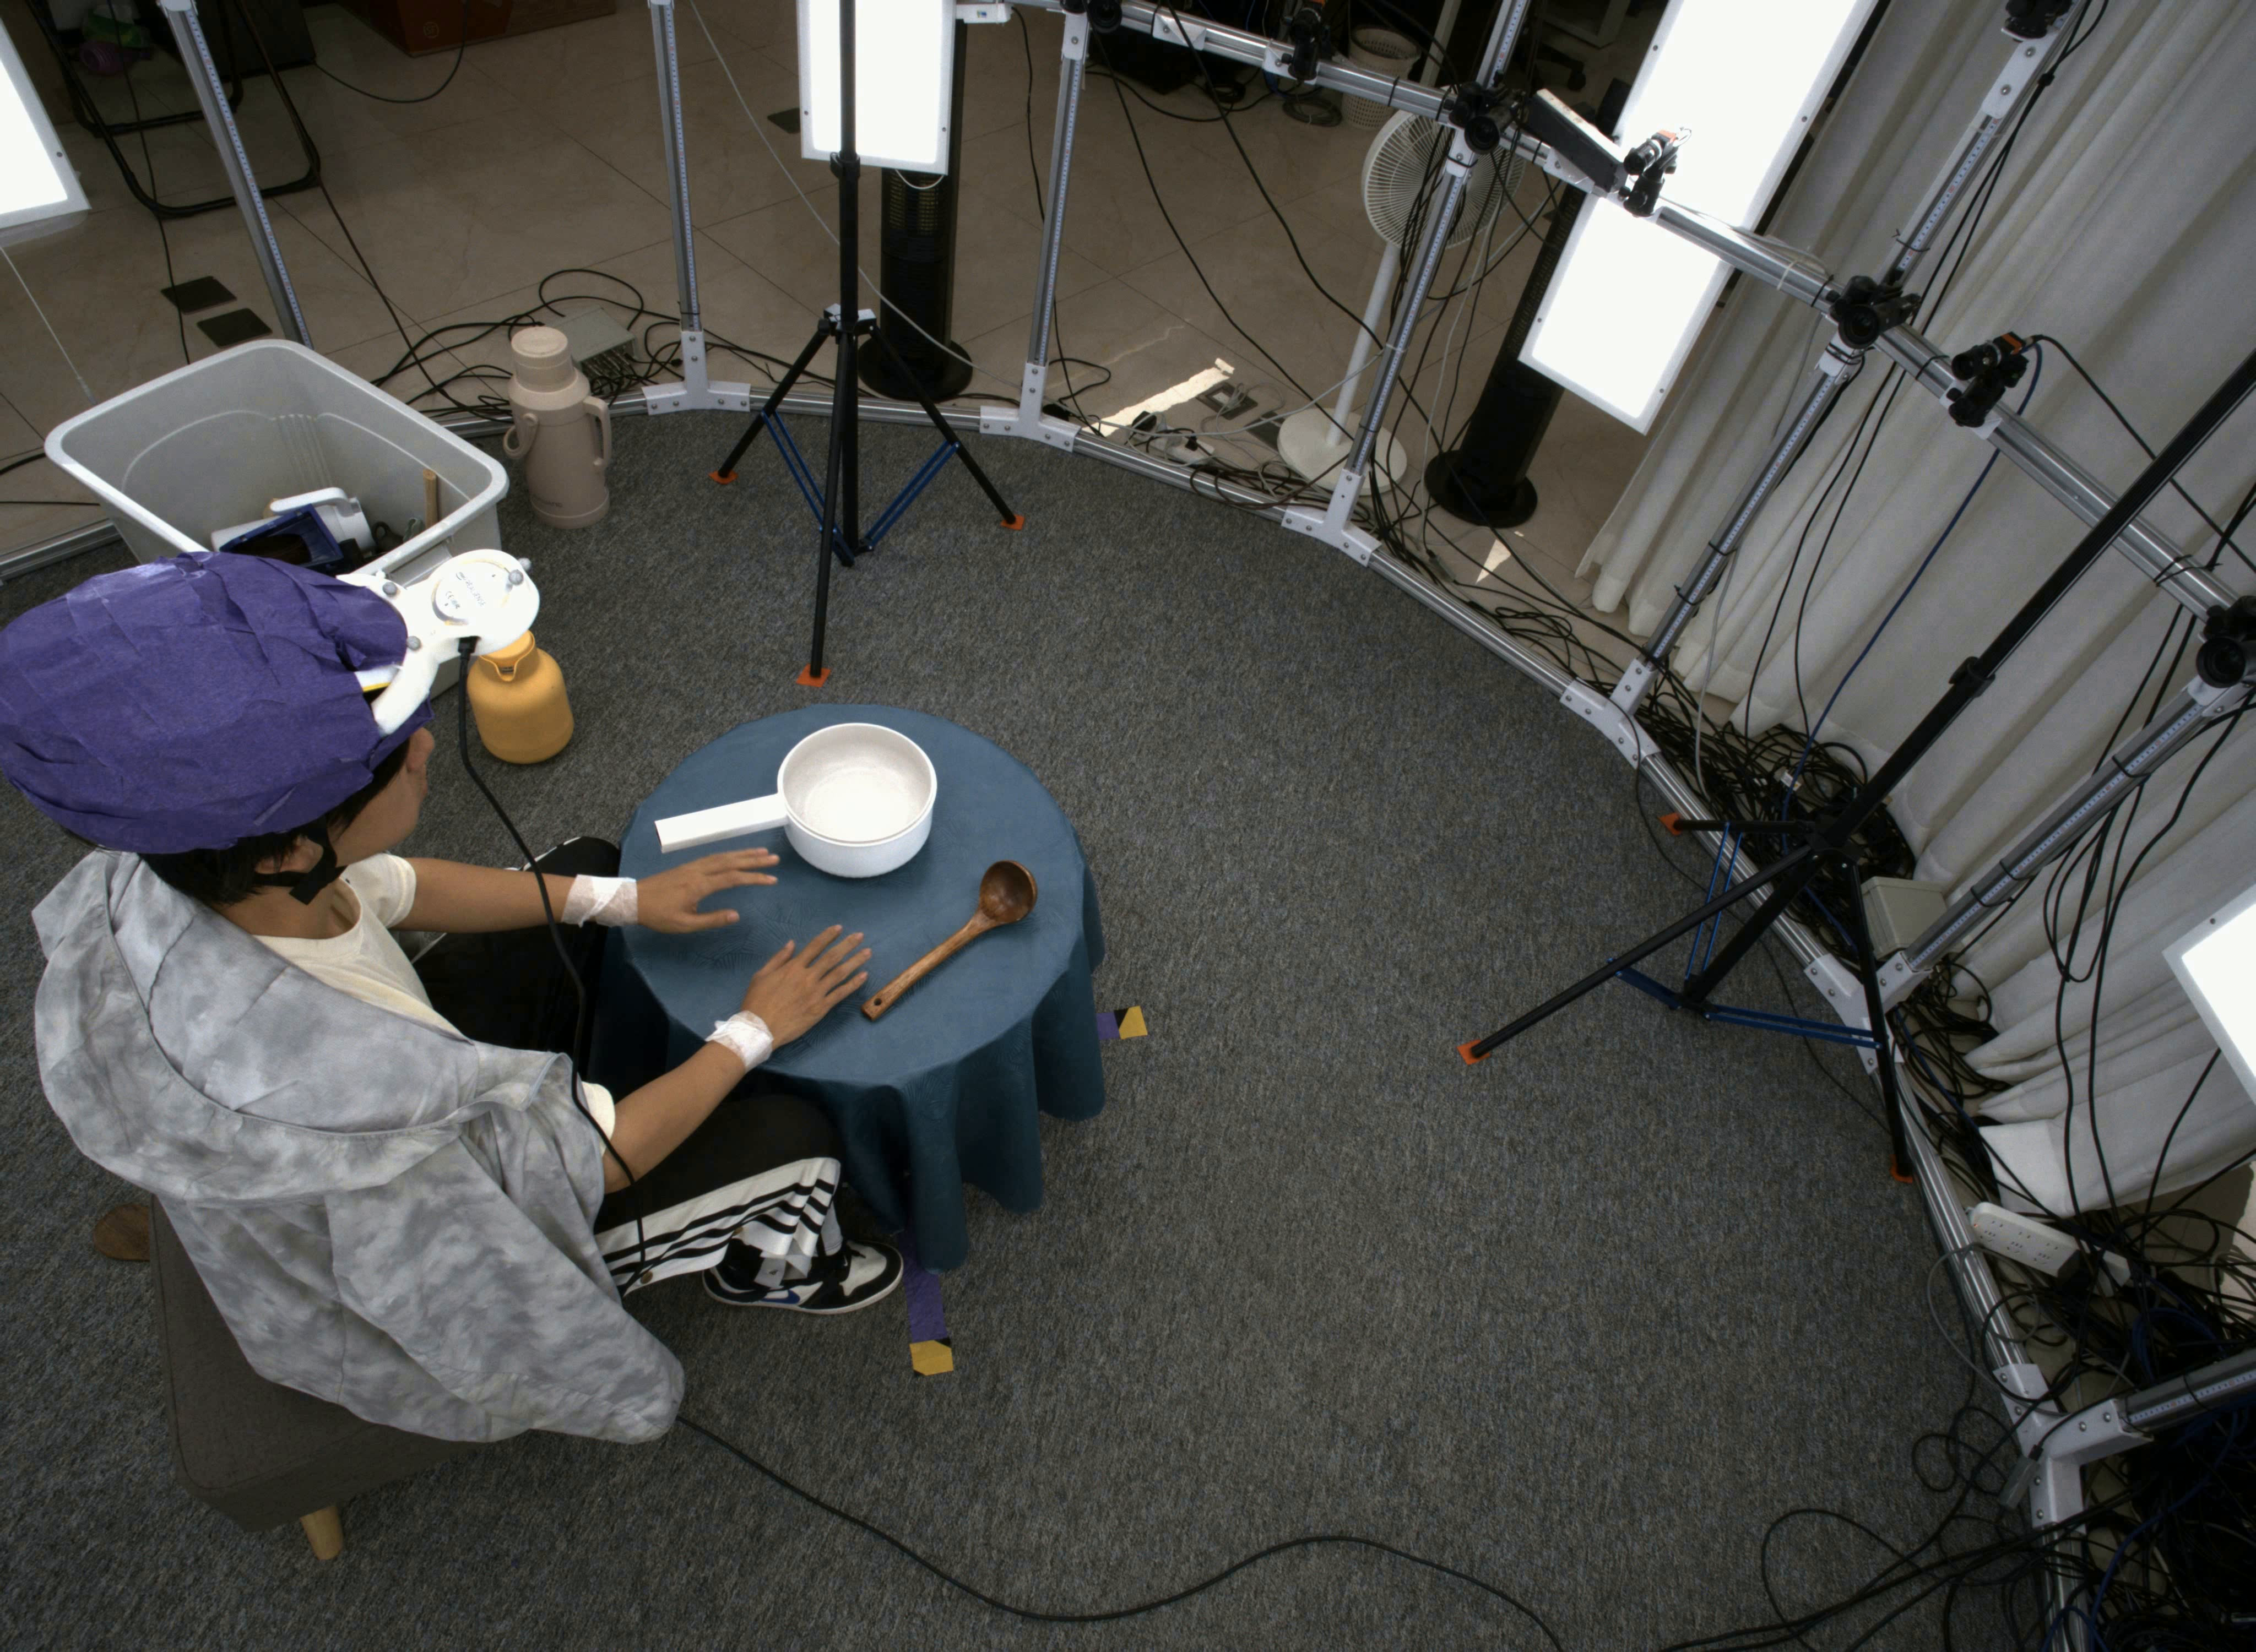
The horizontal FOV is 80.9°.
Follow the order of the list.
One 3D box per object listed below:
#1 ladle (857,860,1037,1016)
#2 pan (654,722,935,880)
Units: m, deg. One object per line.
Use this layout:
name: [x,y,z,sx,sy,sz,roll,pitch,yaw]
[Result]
ladle: [-0.225,0.135,1.624,0.079,0.079,0.275,37,53,26]
pan: [-0.423,-0.010,1.670,0.356,0.104,0.196,-15,59,-23]
